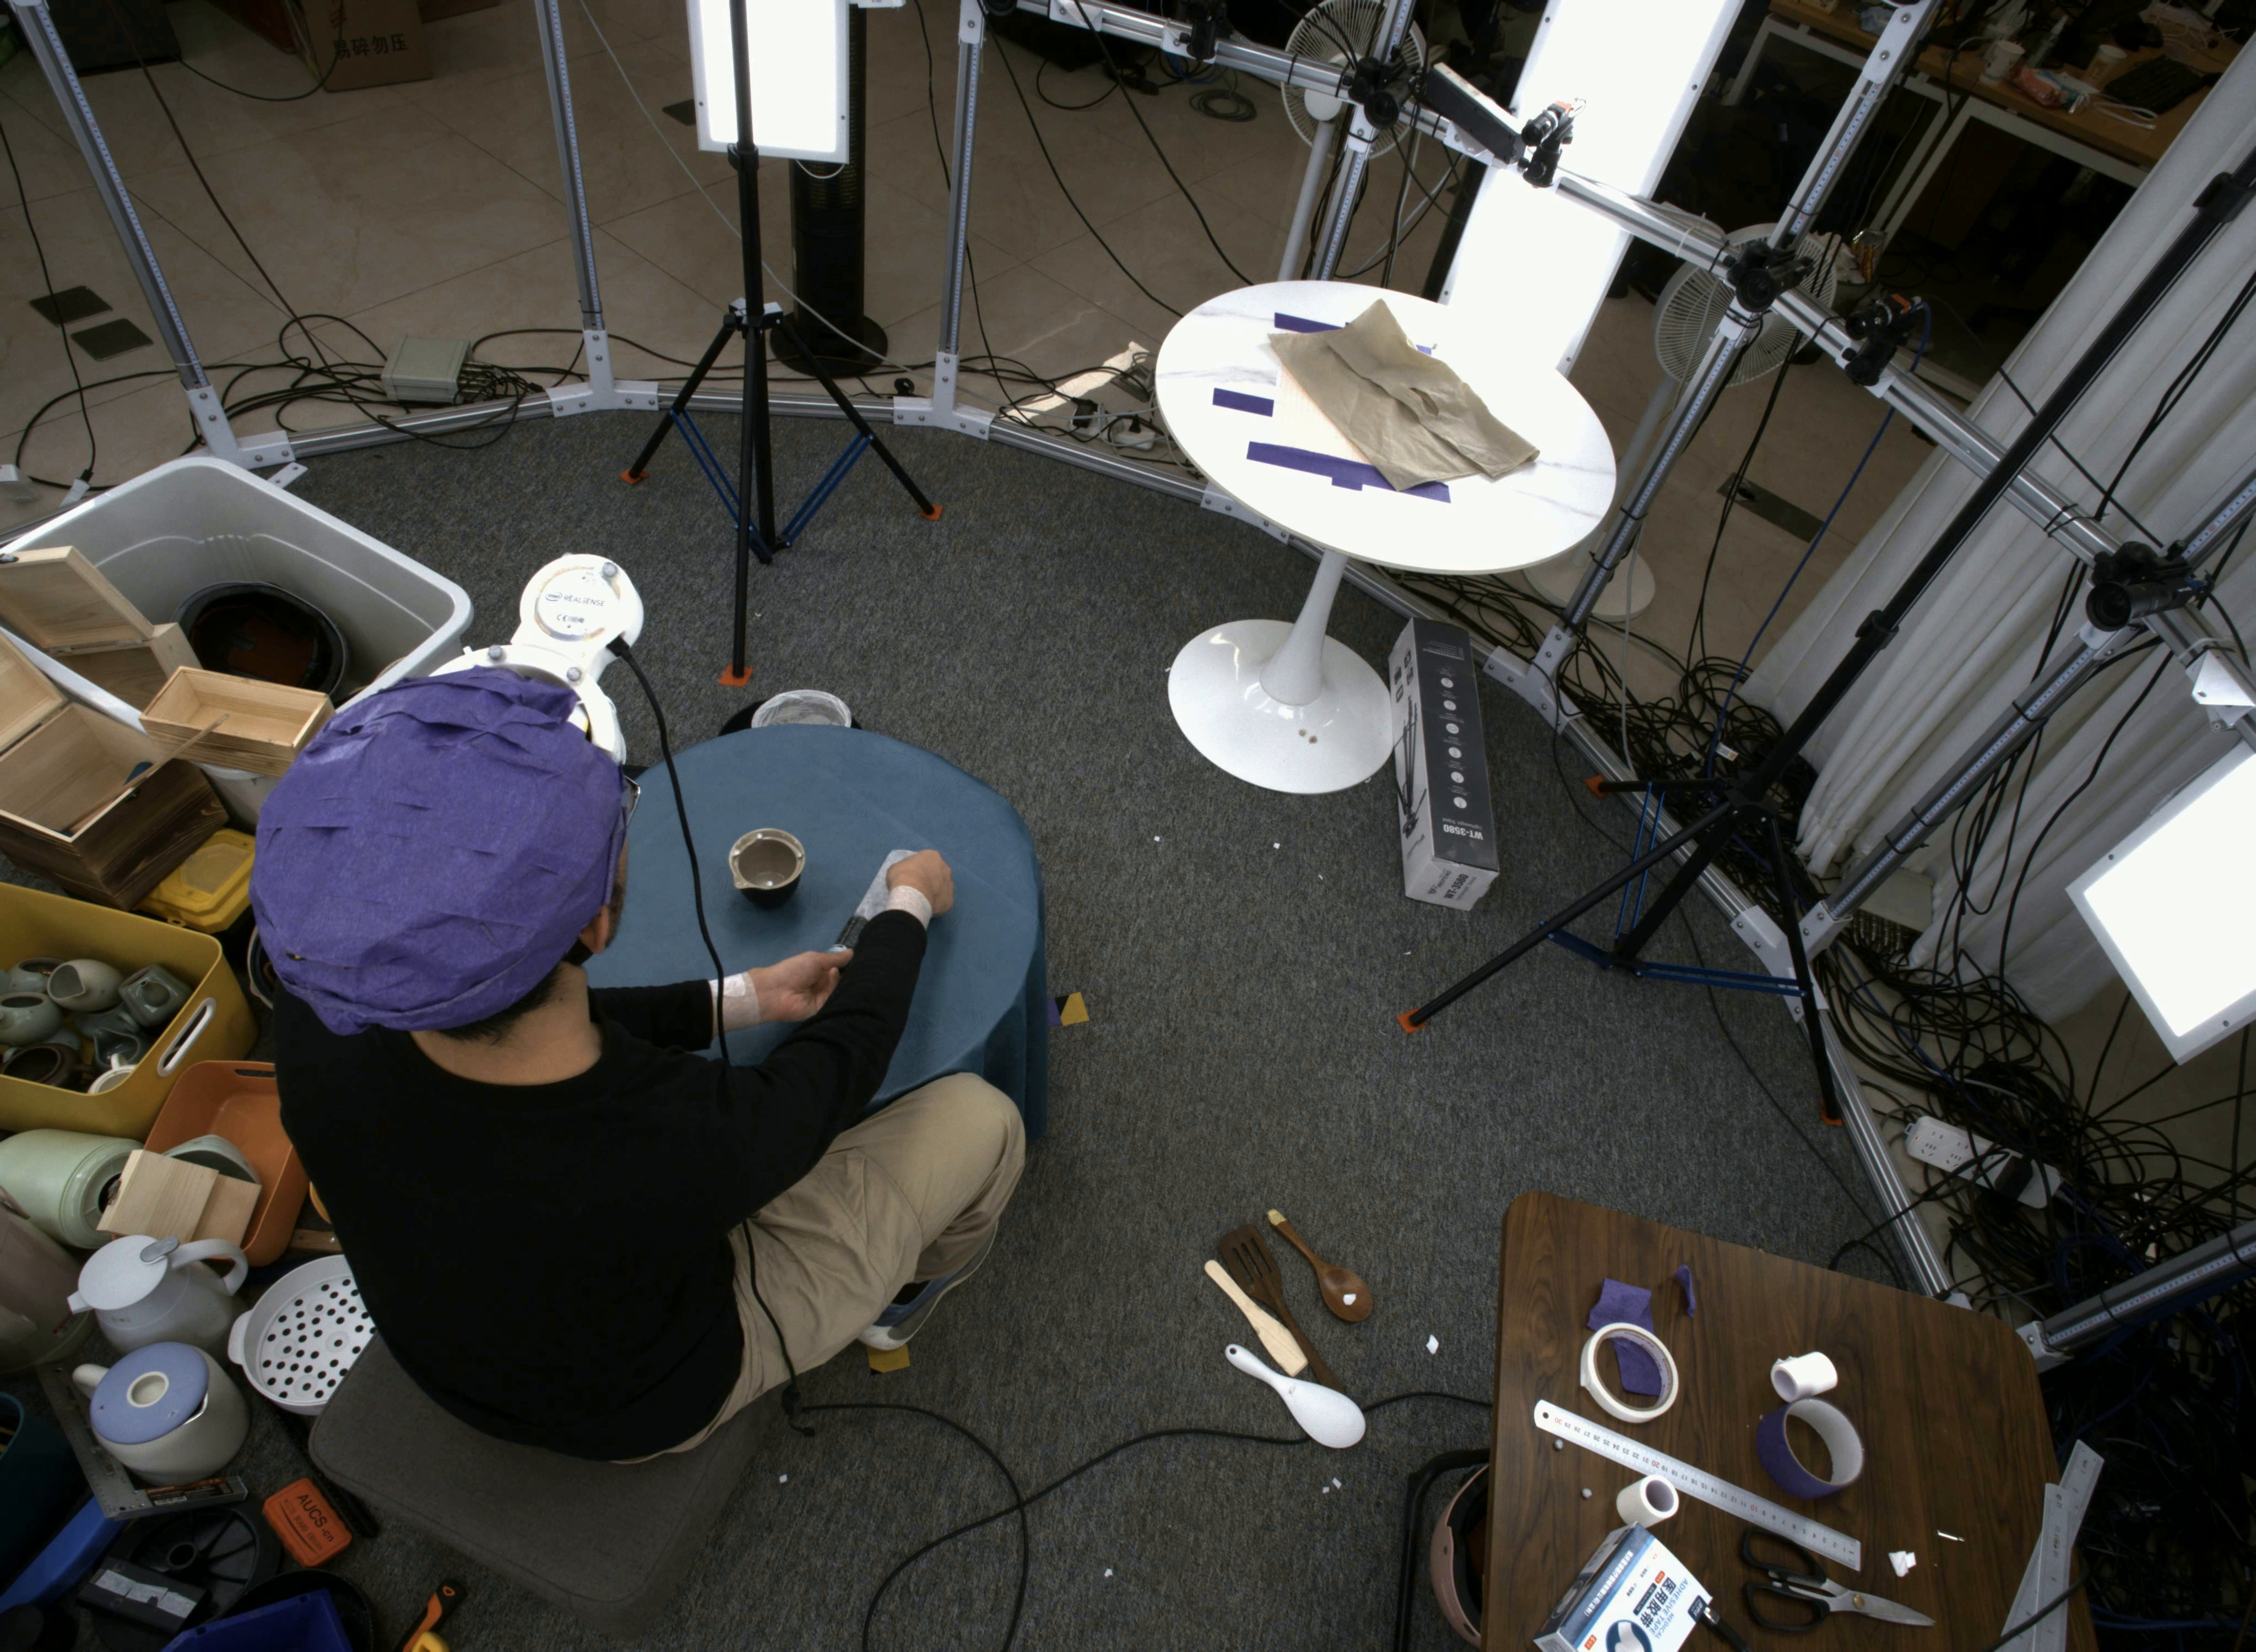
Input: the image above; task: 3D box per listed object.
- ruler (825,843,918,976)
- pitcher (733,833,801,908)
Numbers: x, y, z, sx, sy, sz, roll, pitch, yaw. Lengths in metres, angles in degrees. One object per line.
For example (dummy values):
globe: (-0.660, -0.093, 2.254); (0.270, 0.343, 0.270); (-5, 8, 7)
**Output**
ruler: (-0.326, 0.097, 1.647); (0.037, 0.025, 0.216); (16, 49, 7)
pitcher: (-0.454, 0.062, 1.617); (0.082, 0.073, 0.096); (32, 52, 10)
